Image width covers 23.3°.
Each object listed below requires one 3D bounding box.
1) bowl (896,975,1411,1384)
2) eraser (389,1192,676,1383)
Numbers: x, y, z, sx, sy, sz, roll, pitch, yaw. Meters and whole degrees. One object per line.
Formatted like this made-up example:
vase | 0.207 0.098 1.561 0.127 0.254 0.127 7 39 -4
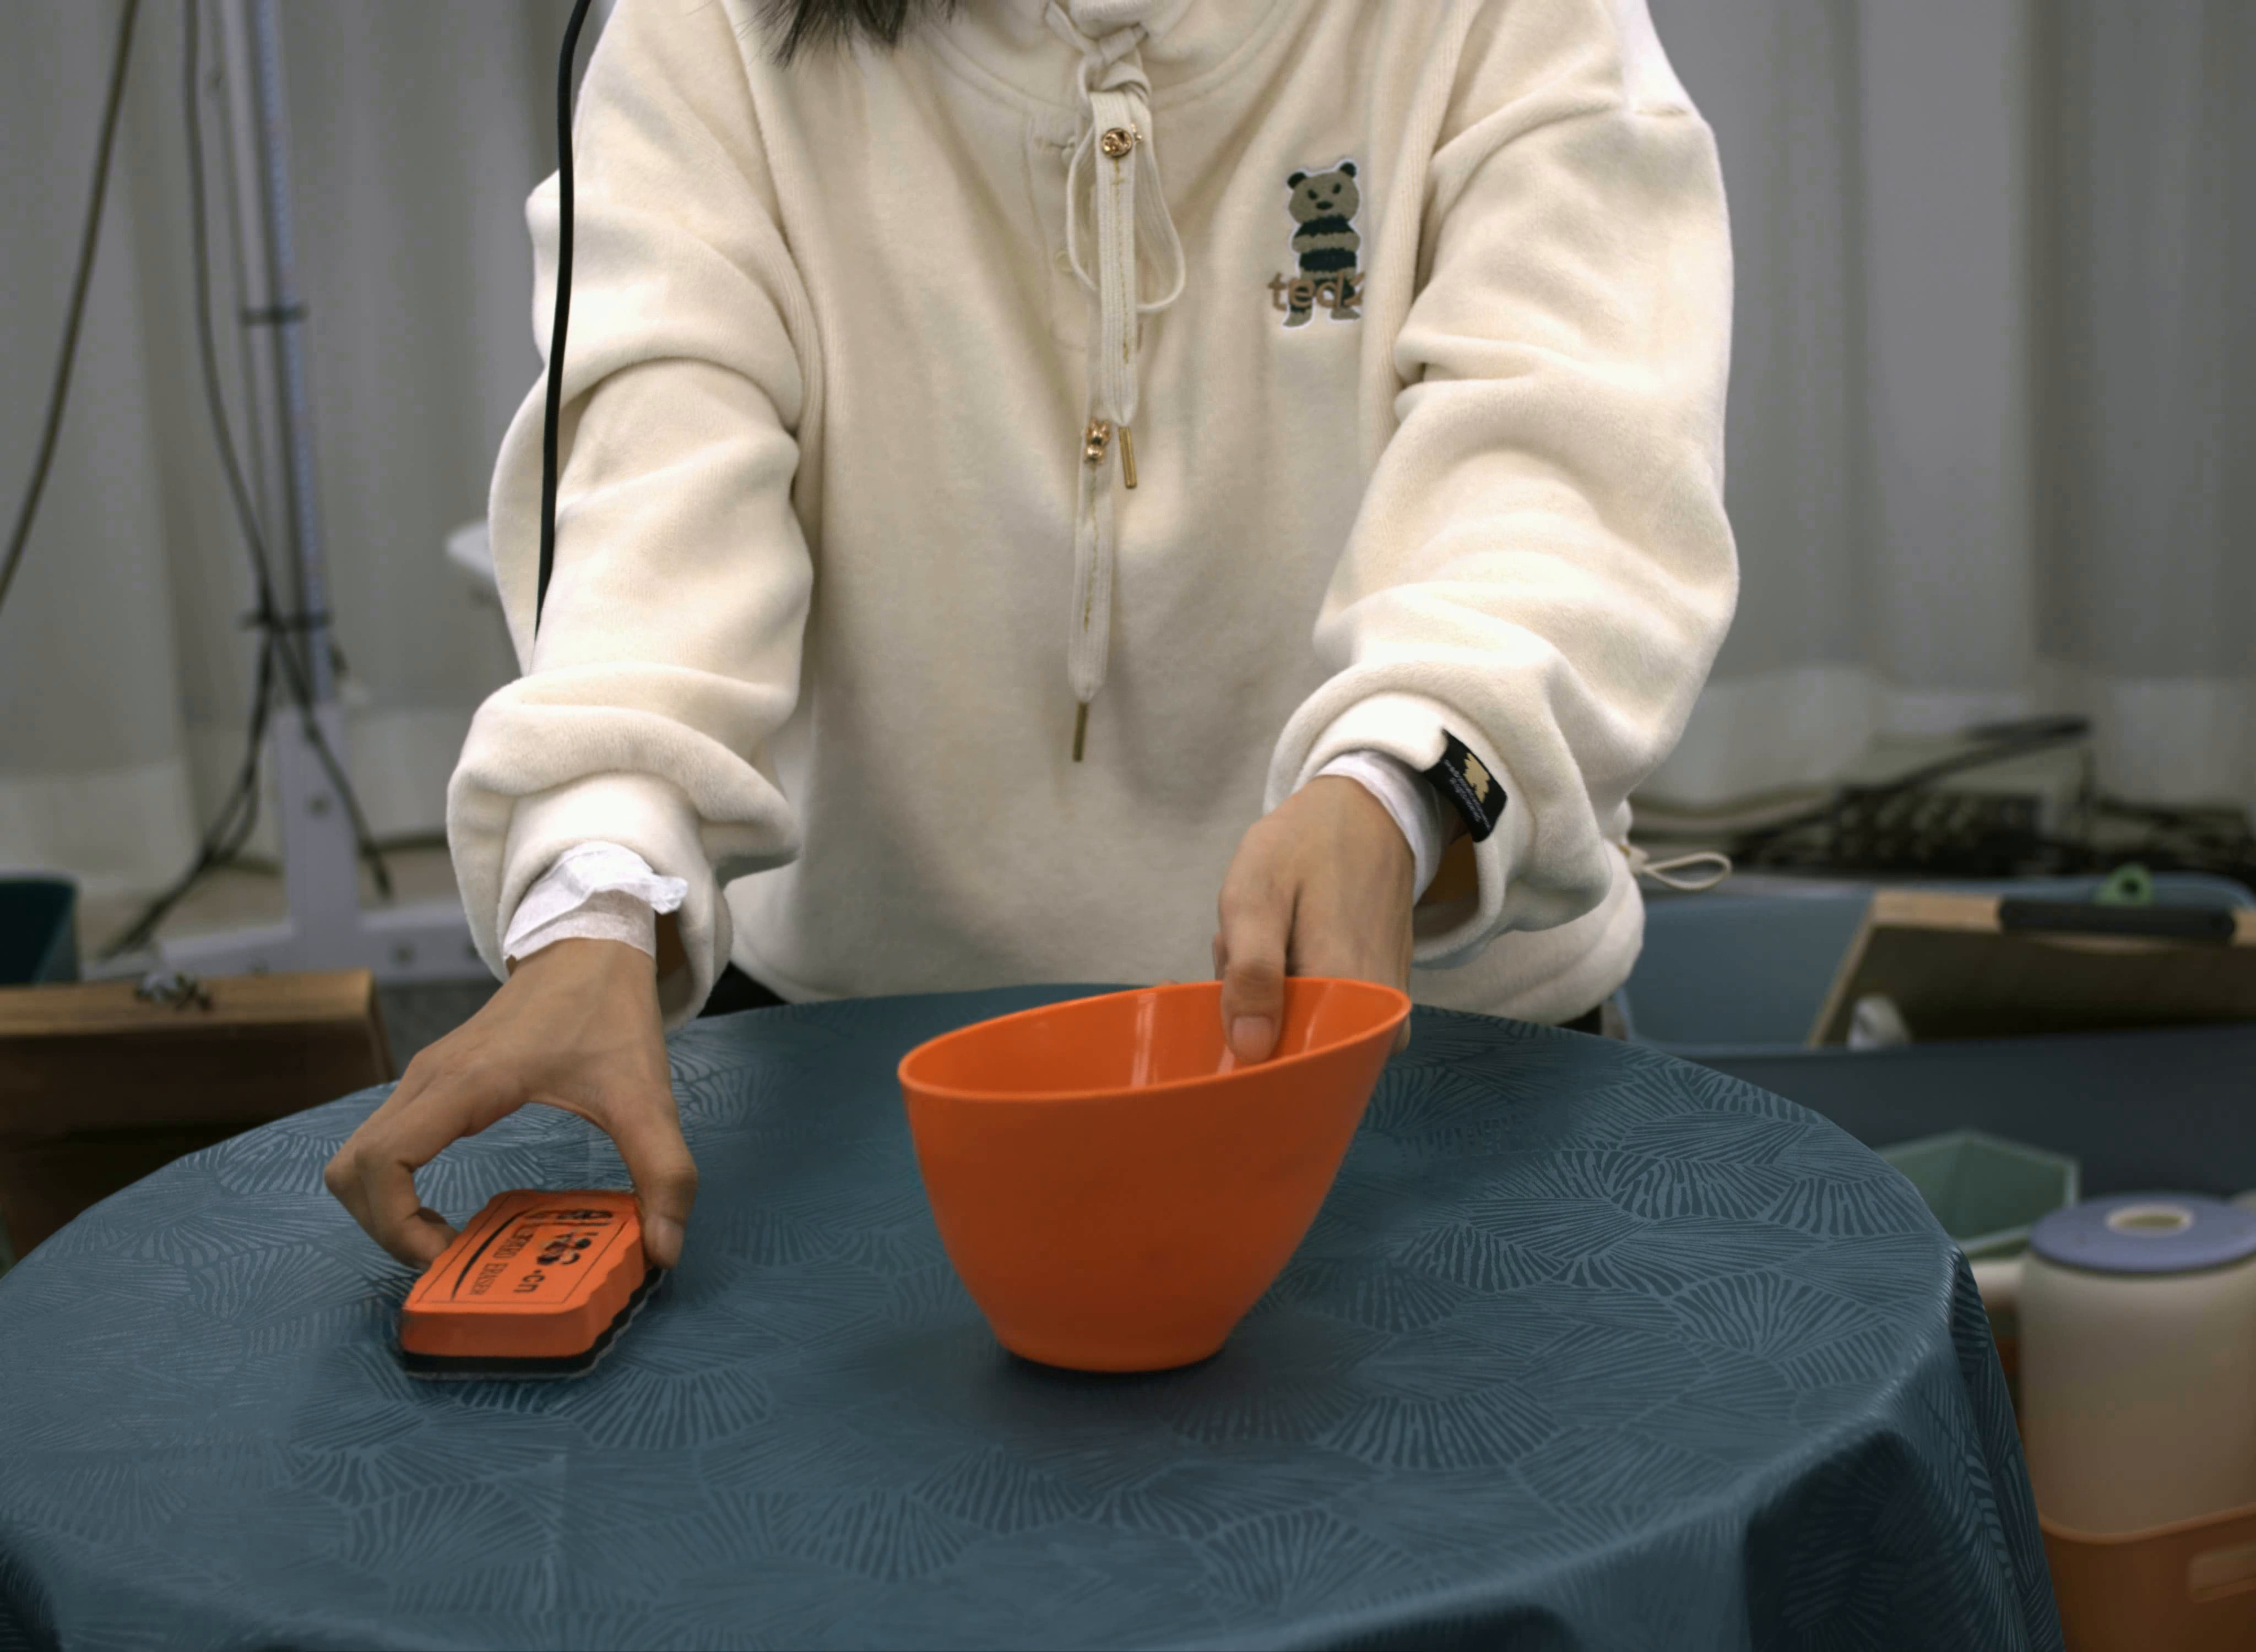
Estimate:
bowl | 0.007 0.101 1.563 0.147 0.104 0.149 0 13 0
eraser | -0.176 0.136 1.623 0.059 0.023 0.108 -2 15 14
